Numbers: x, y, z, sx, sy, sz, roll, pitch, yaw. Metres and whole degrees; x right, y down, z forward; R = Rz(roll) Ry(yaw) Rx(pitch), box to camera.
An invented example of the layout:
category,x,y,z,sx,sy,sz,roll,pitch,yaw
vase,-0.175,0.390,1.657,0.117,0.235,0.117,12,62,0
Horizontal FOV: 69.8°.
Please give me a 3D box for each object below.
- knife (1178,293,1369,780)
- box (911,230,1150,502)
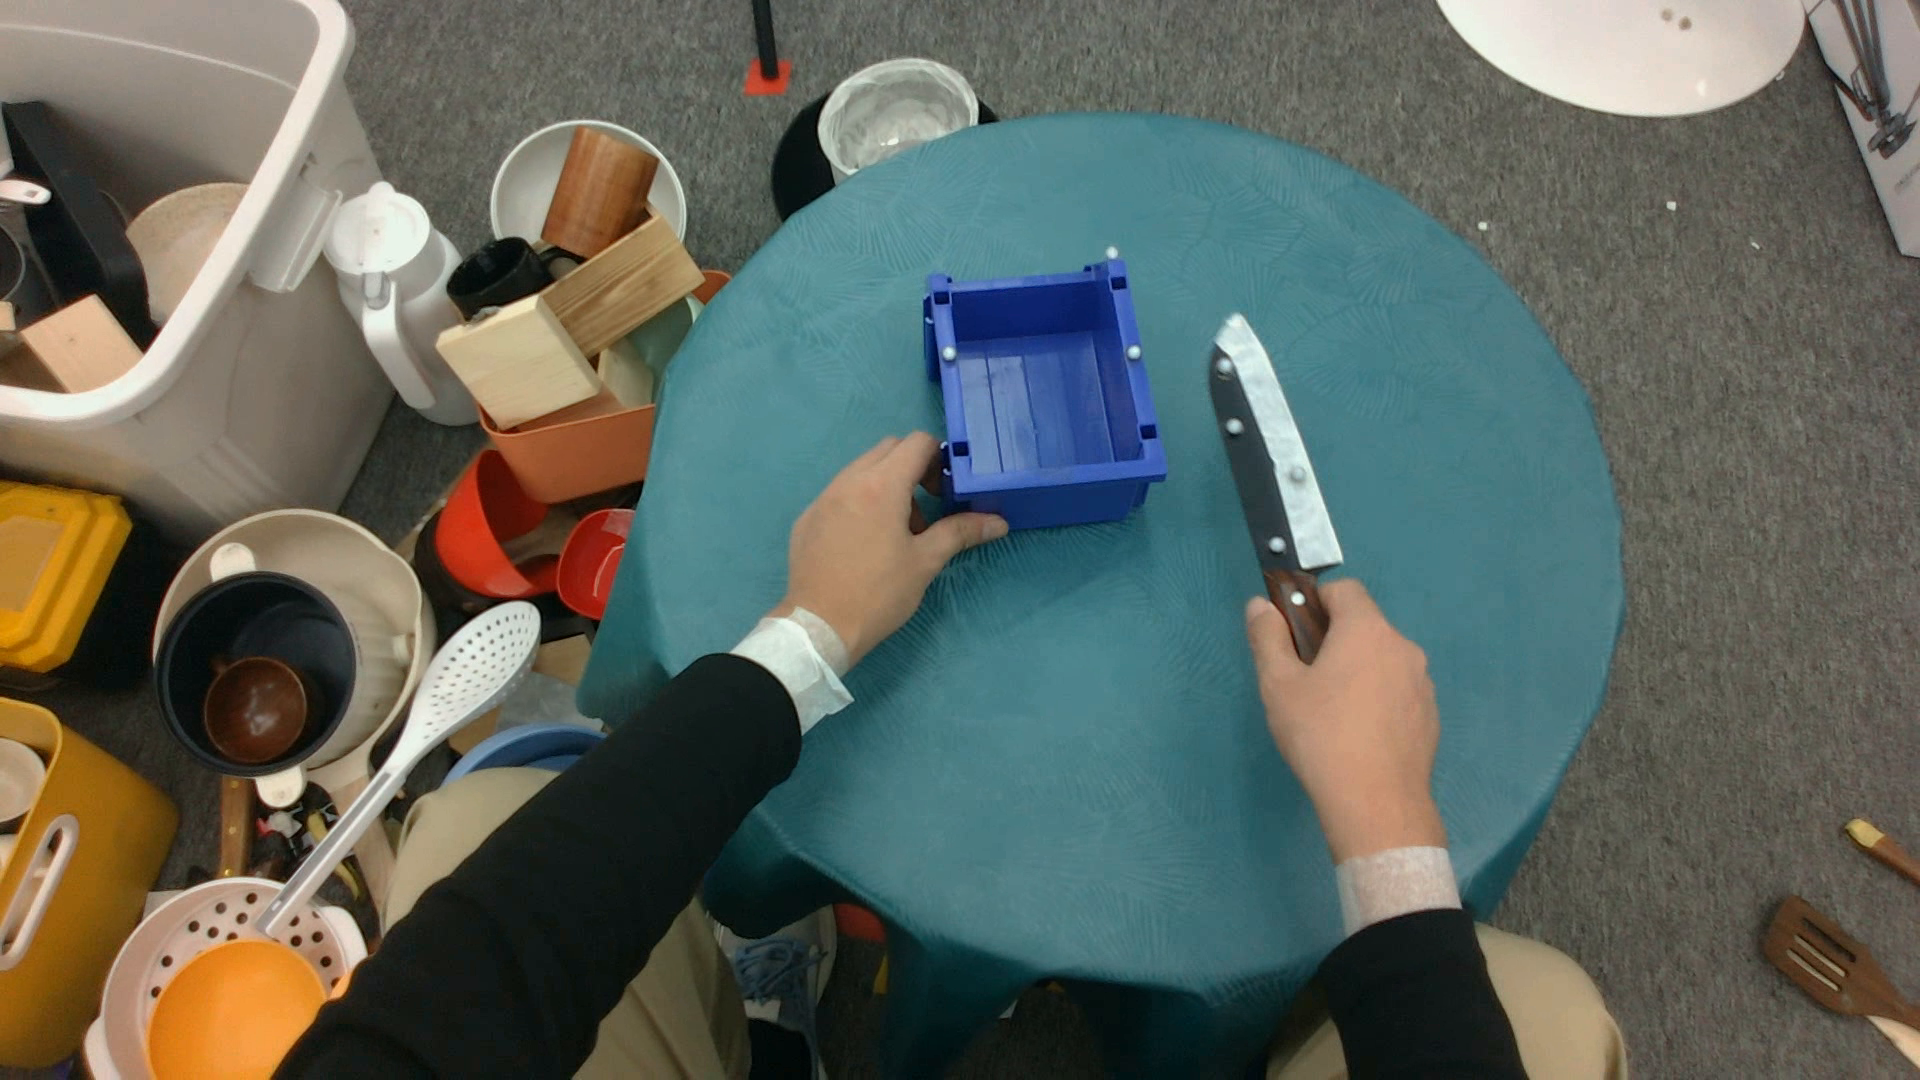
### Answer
category,x,y,z,sx,sy,sz,roll,pitch,yaw
knife,0.168,-0.012,0.747,0.050,0.020,0.290,-10,68,-2
box,0.036,-0.112,0.836,0.124,0.081,0.180,-5,66,-3
